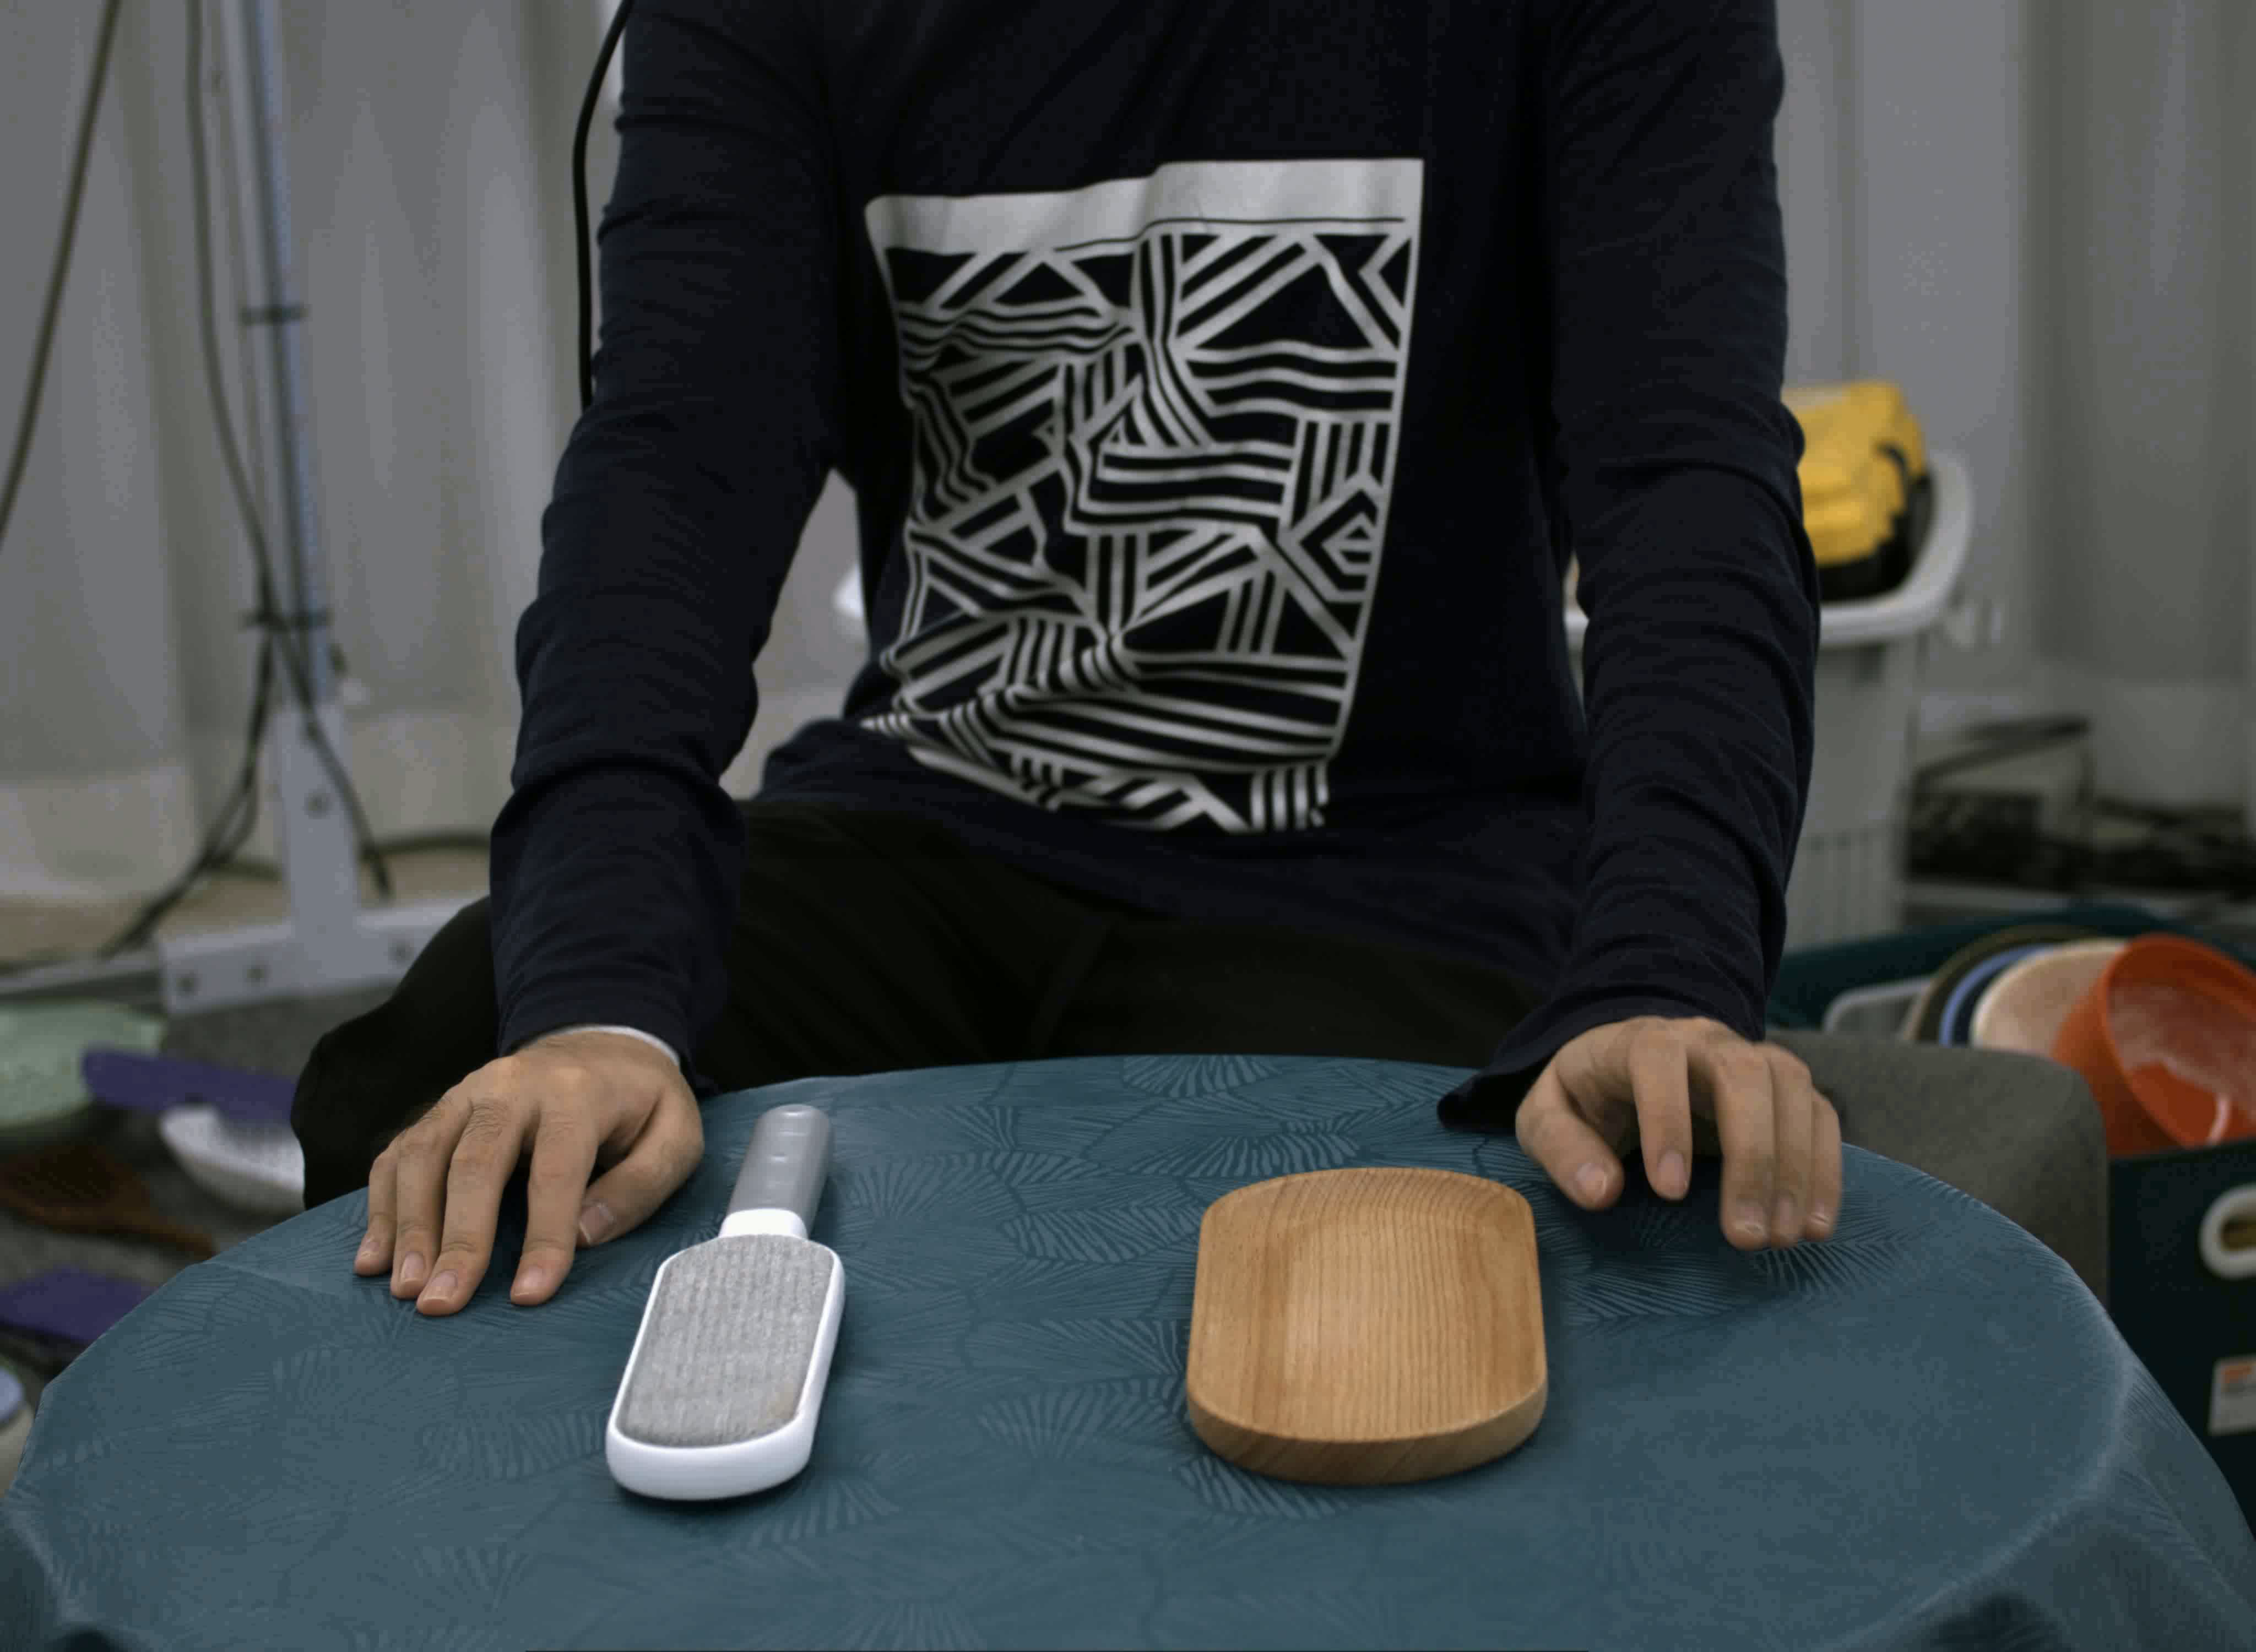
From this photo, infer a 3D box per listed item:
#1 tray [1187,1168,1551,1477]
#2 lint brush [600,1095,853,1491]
[{"bbox_3d":[0.068,0.141,1.577,0.101,0.020,0.232,0,13,1],"label":"tray"},{"bbox_3d":[-0.110,0.133,1.615,0.060,0.021,0.311,-7,14,4],"label":"lint brush"}]
